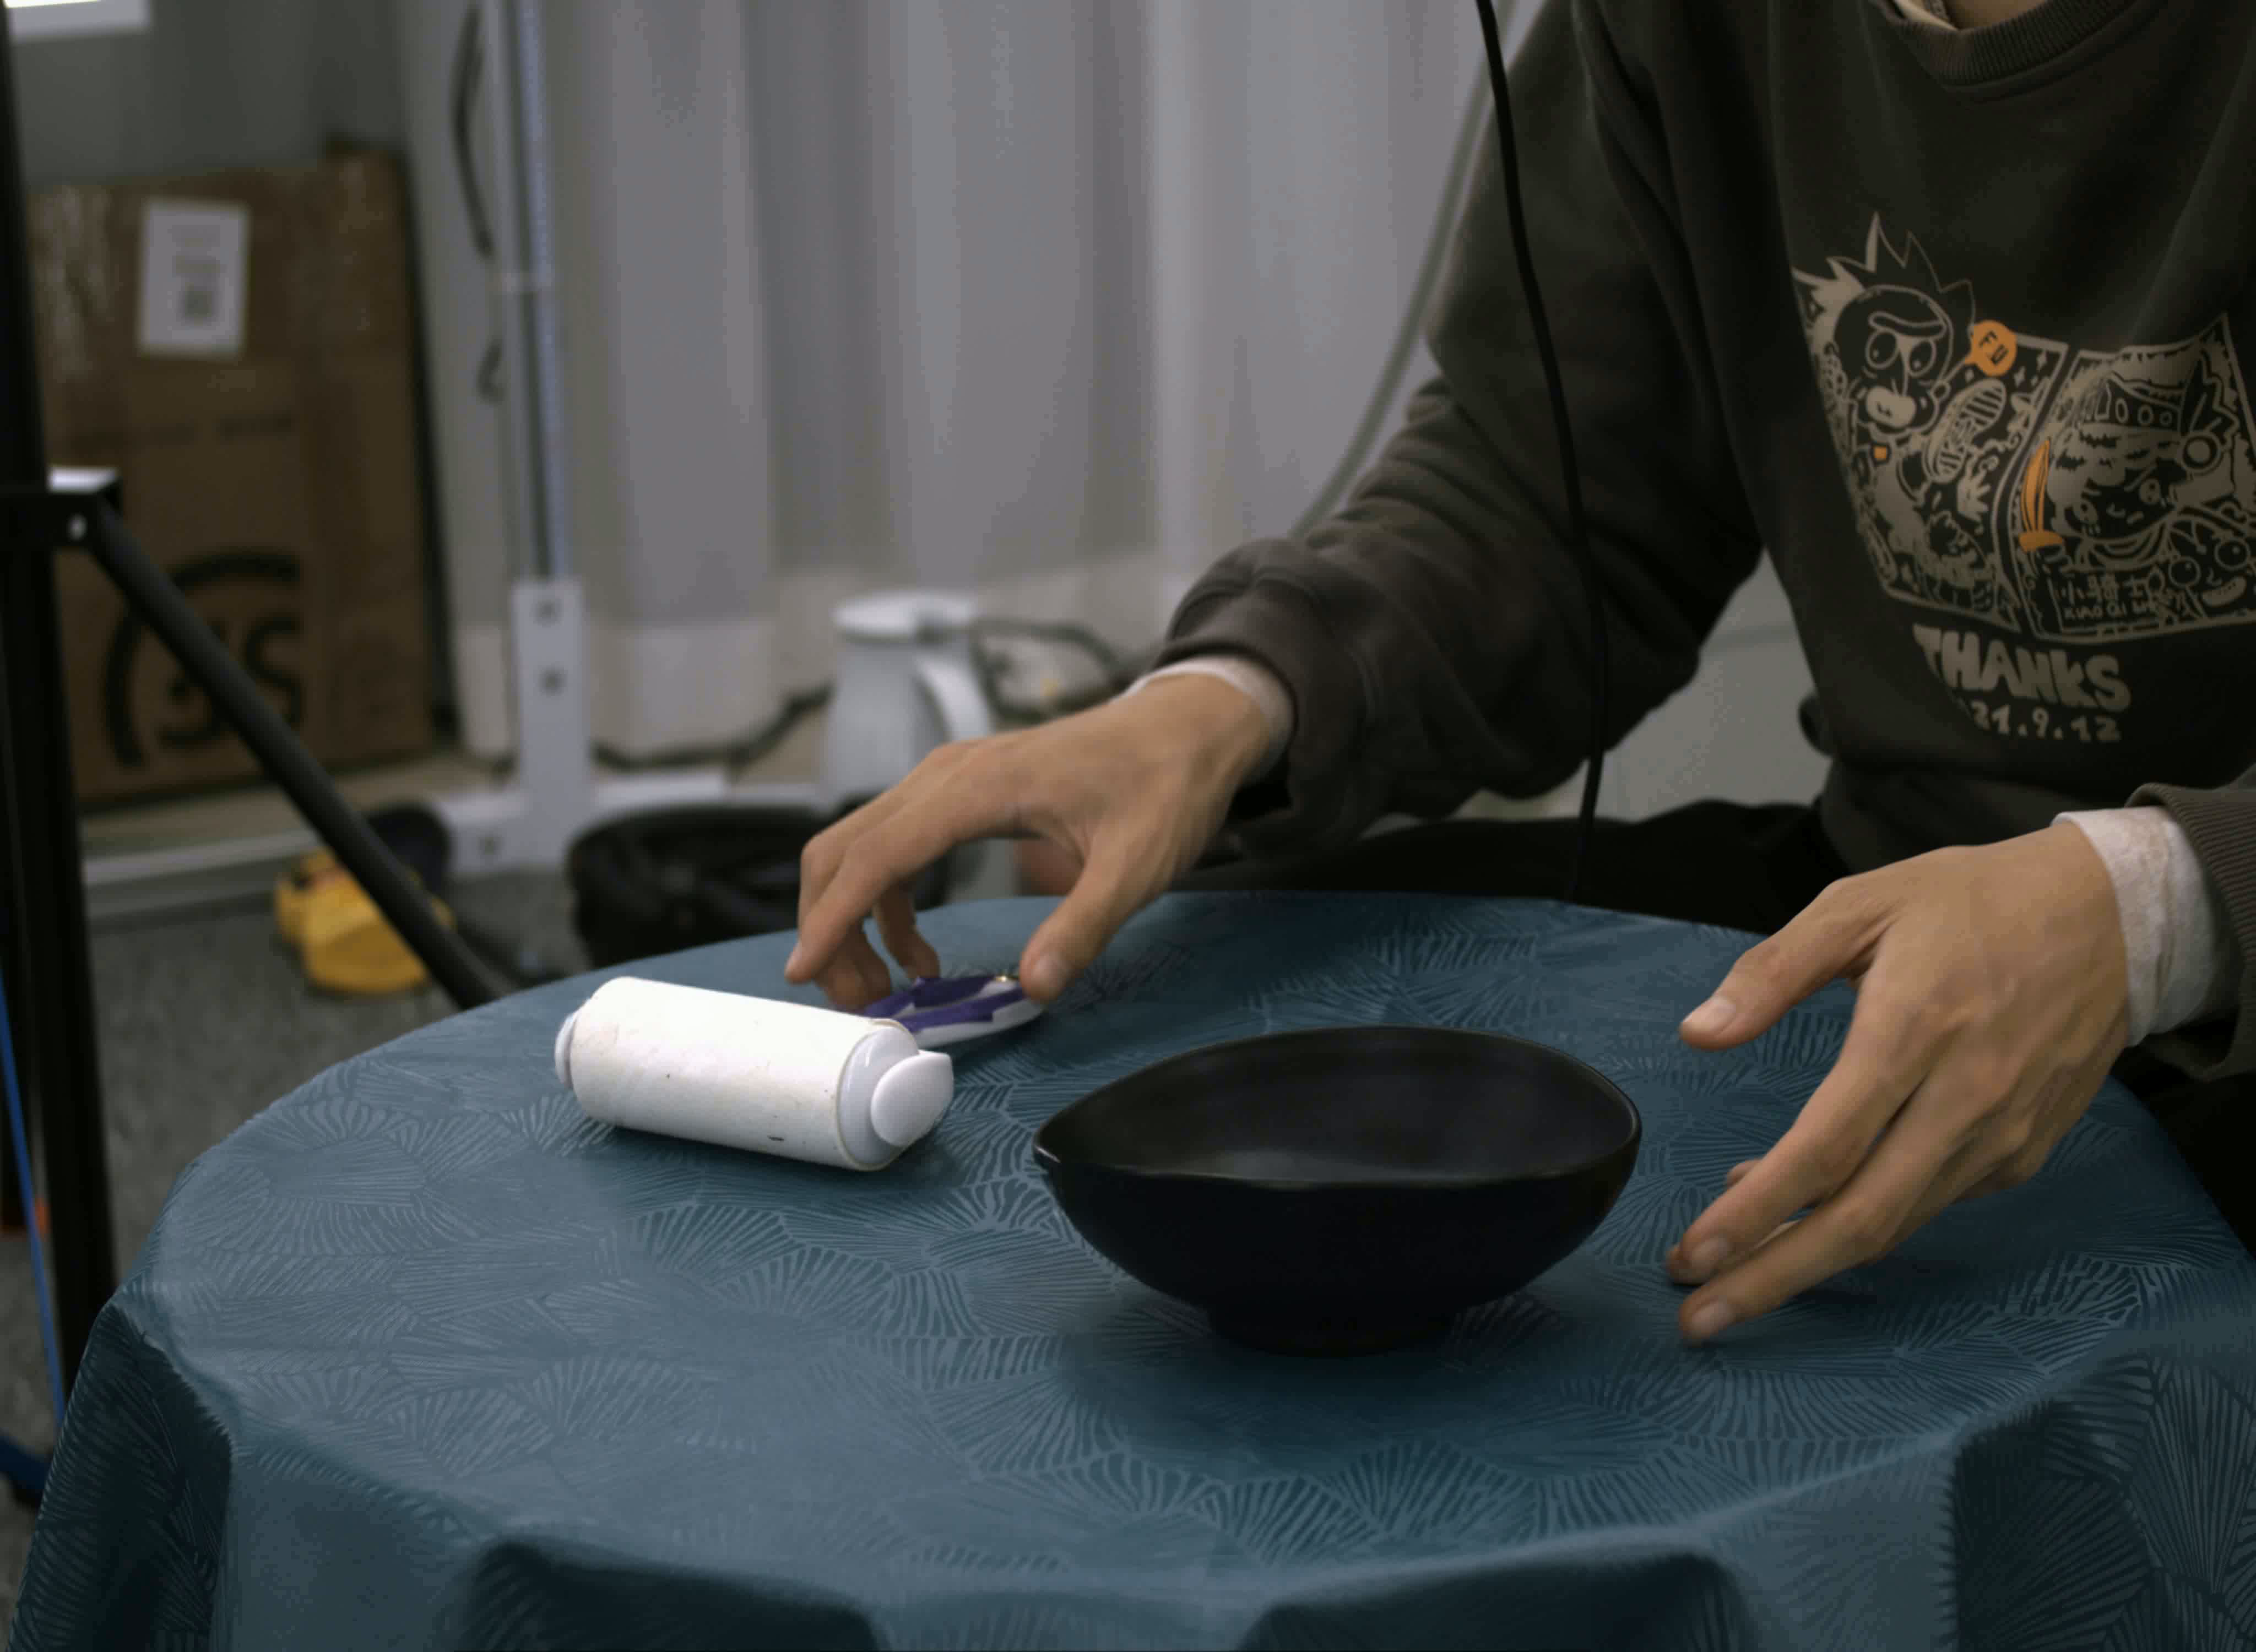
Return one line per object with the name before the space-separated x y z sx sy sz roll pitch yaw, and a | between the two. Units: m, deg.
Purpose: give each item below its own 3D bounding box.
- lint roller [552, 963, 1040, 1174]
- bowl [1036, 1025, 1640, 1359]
lint roller | -0.080 0.057 1.667 0.135 0.050 0.177 8 22 35
bowl | 0.056 0.105 1.448 0.172 0.067 0.136 1 15 19
